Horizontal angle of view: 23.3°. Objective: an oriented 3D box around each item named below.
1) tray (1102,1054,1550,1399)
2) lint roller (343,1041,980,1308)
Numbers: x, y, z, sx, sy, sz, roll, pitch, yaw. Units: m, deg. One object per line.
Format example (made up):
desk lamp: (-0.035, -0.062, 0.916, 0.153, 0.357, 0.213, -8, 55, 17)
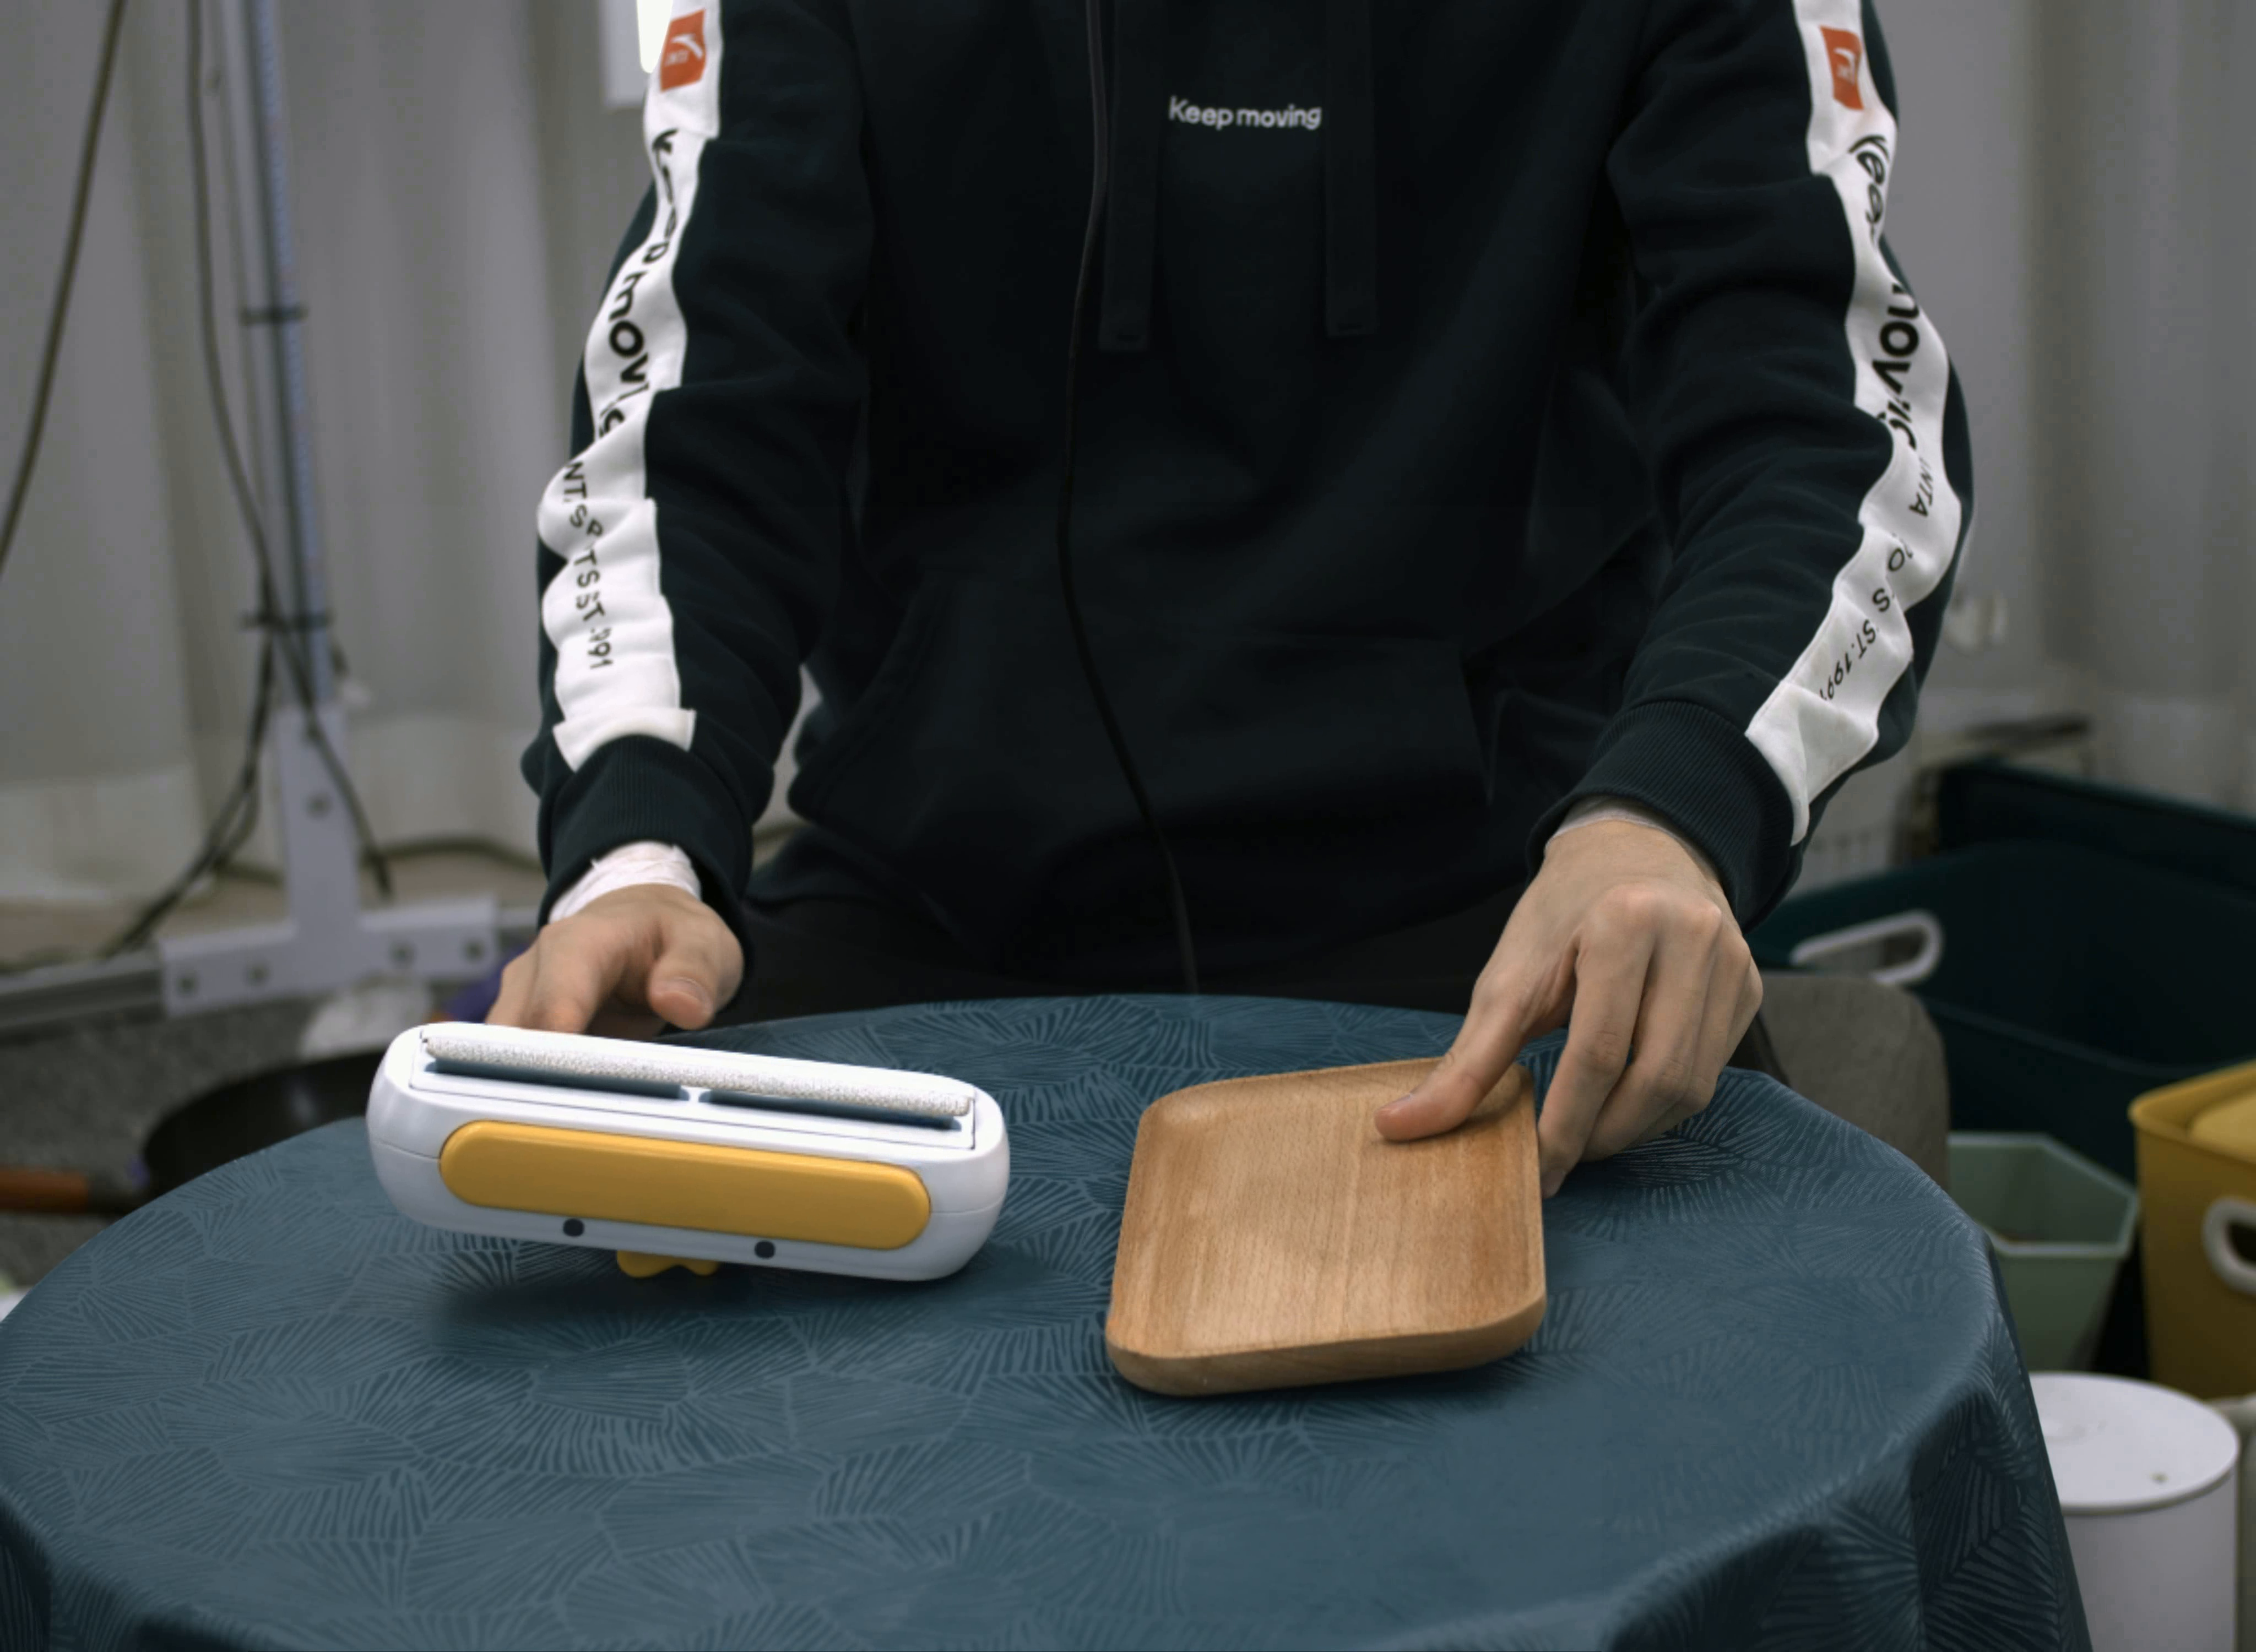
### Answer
tray: (0.062, 0.118, 1.643, 0.130, 0.023, 0.252, -4, 14, 5)
lint roller: (-0.139, 0.110, 1.702, 0.192, 0.074, 0.192, 5, 0, 2)
